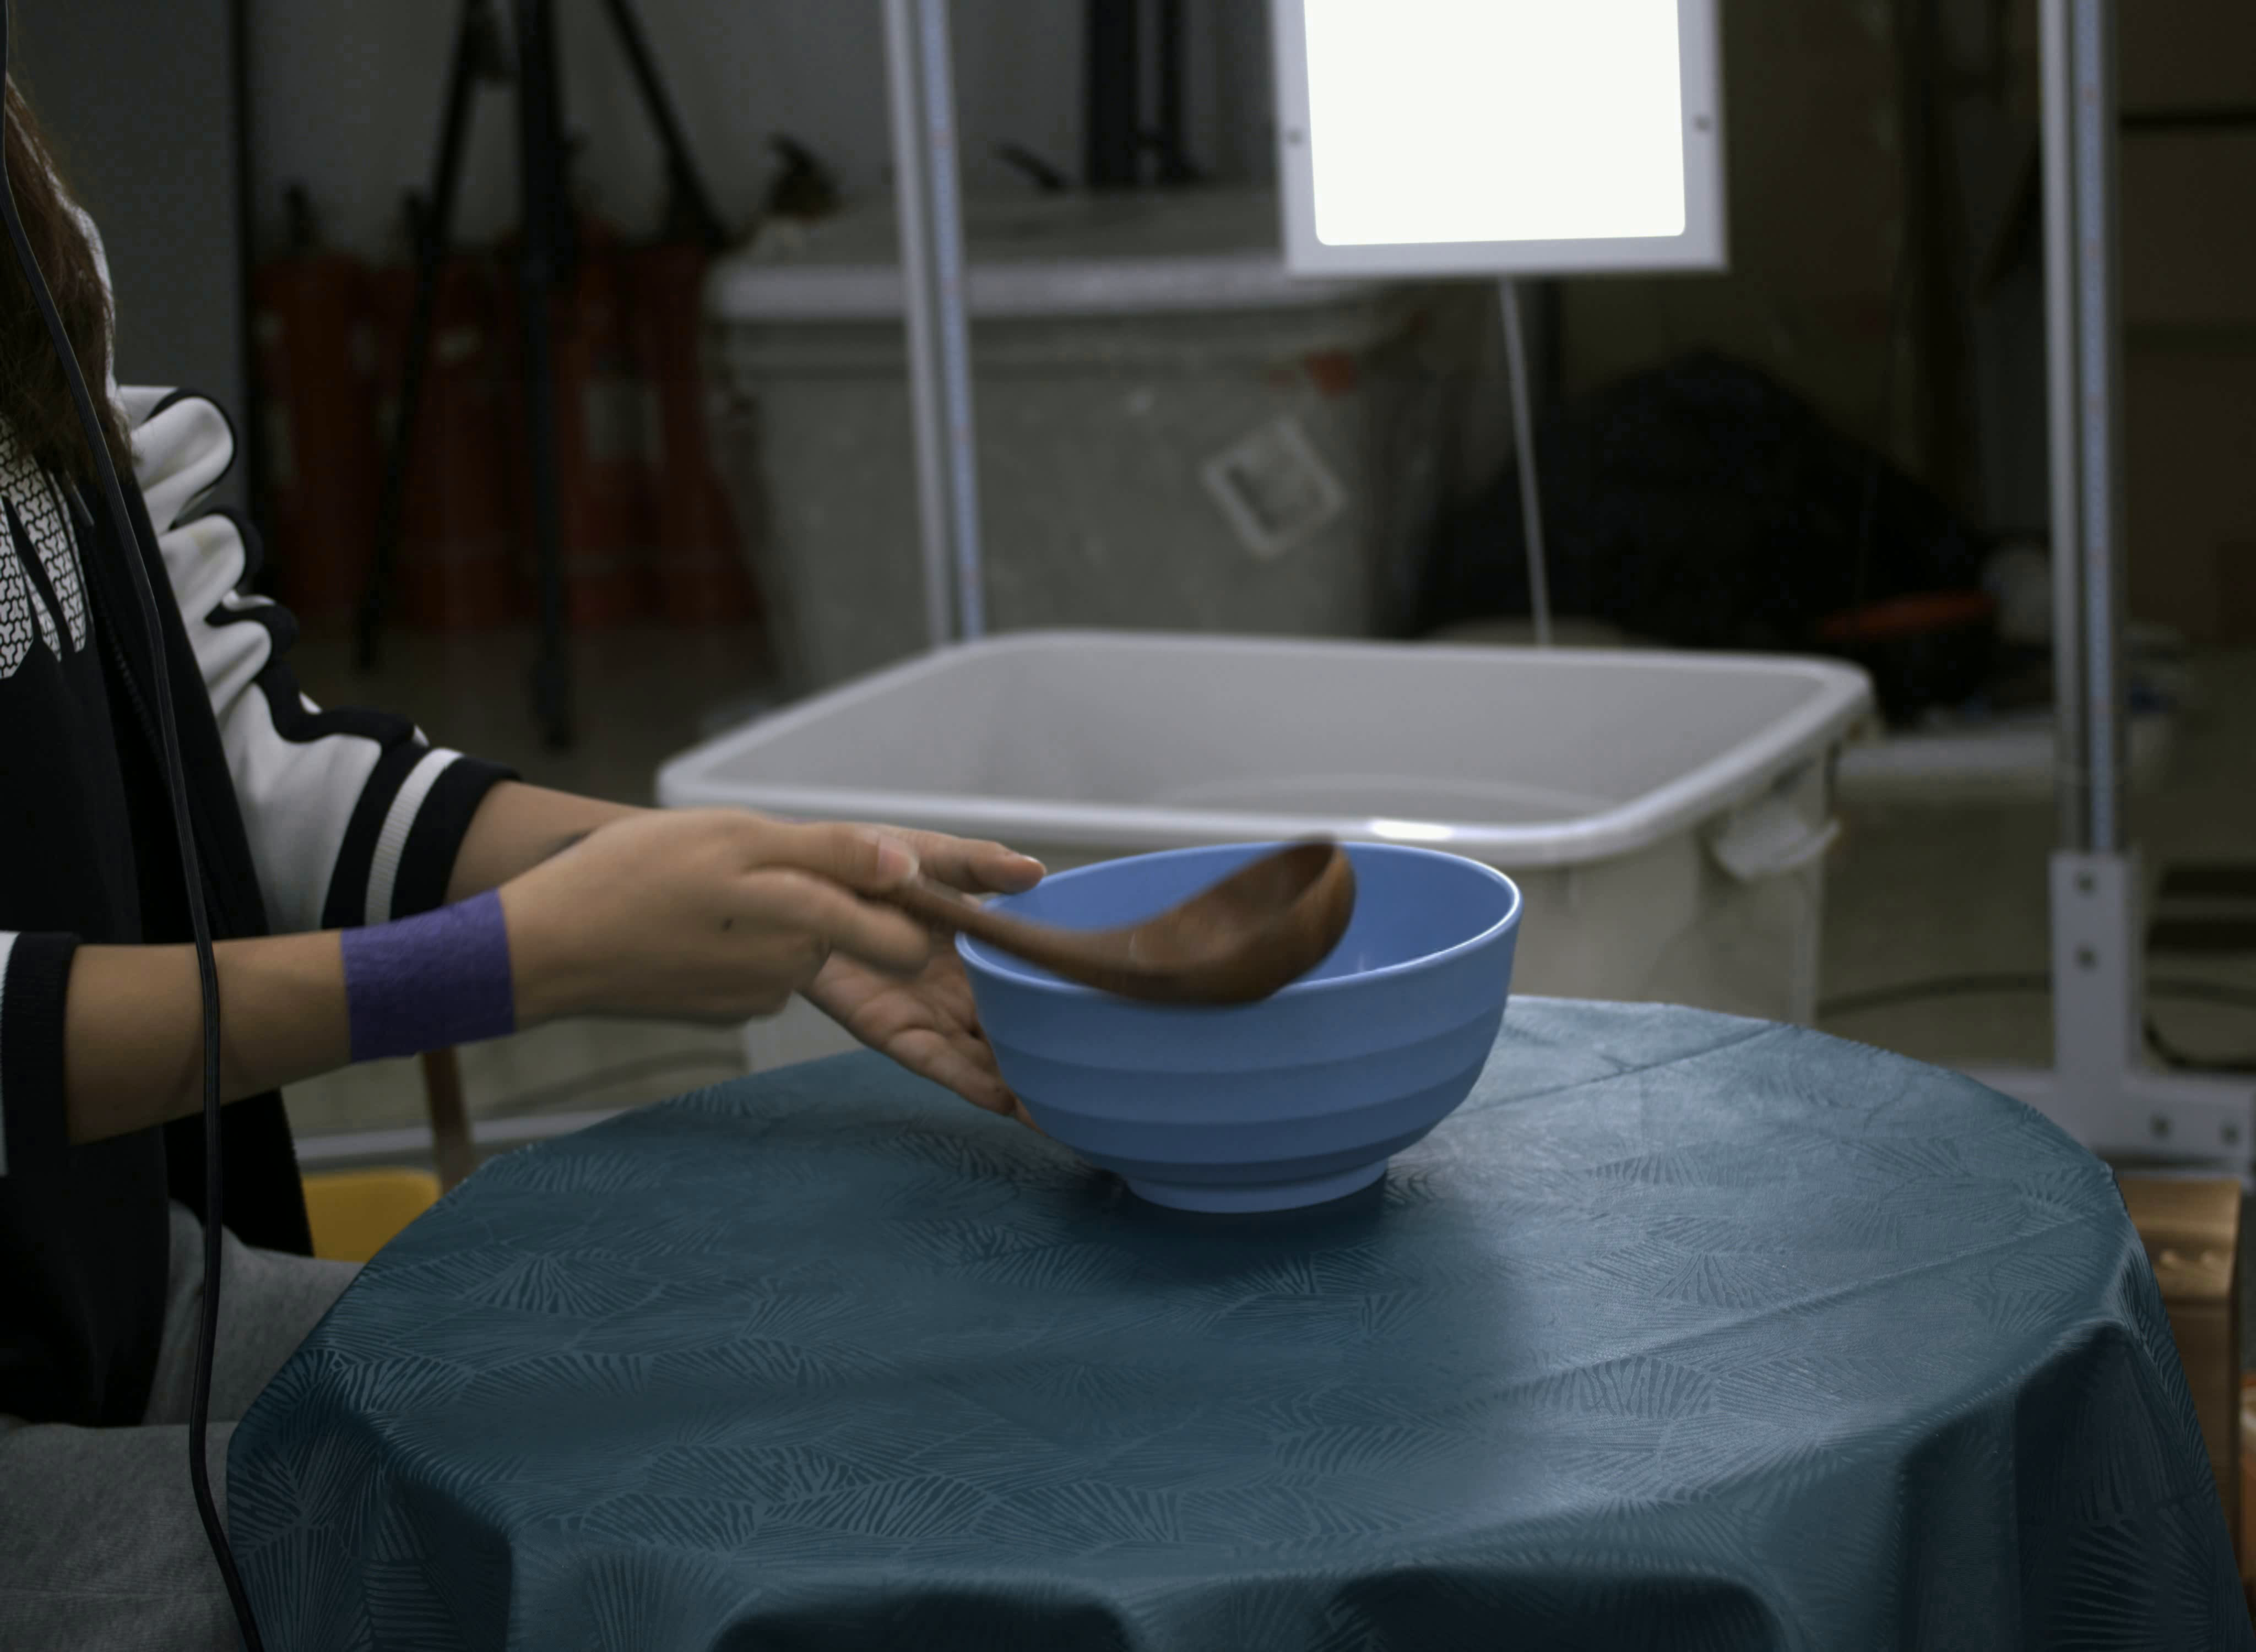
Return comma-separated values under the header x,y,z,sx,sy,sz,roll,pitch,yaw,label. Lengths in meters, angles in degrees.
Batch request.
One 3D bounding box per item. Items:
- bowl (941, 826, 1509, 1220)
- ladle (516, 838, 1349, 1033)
x,y,z,sx,sy,sz,roll,pitch,yaw,label
0.034,0.075,1.900,0.196,0.096,0.196,-3,19,0,bowl
-0.060,0.018,1.718,0.260,0.065,0.076,12,16,3,ladle
